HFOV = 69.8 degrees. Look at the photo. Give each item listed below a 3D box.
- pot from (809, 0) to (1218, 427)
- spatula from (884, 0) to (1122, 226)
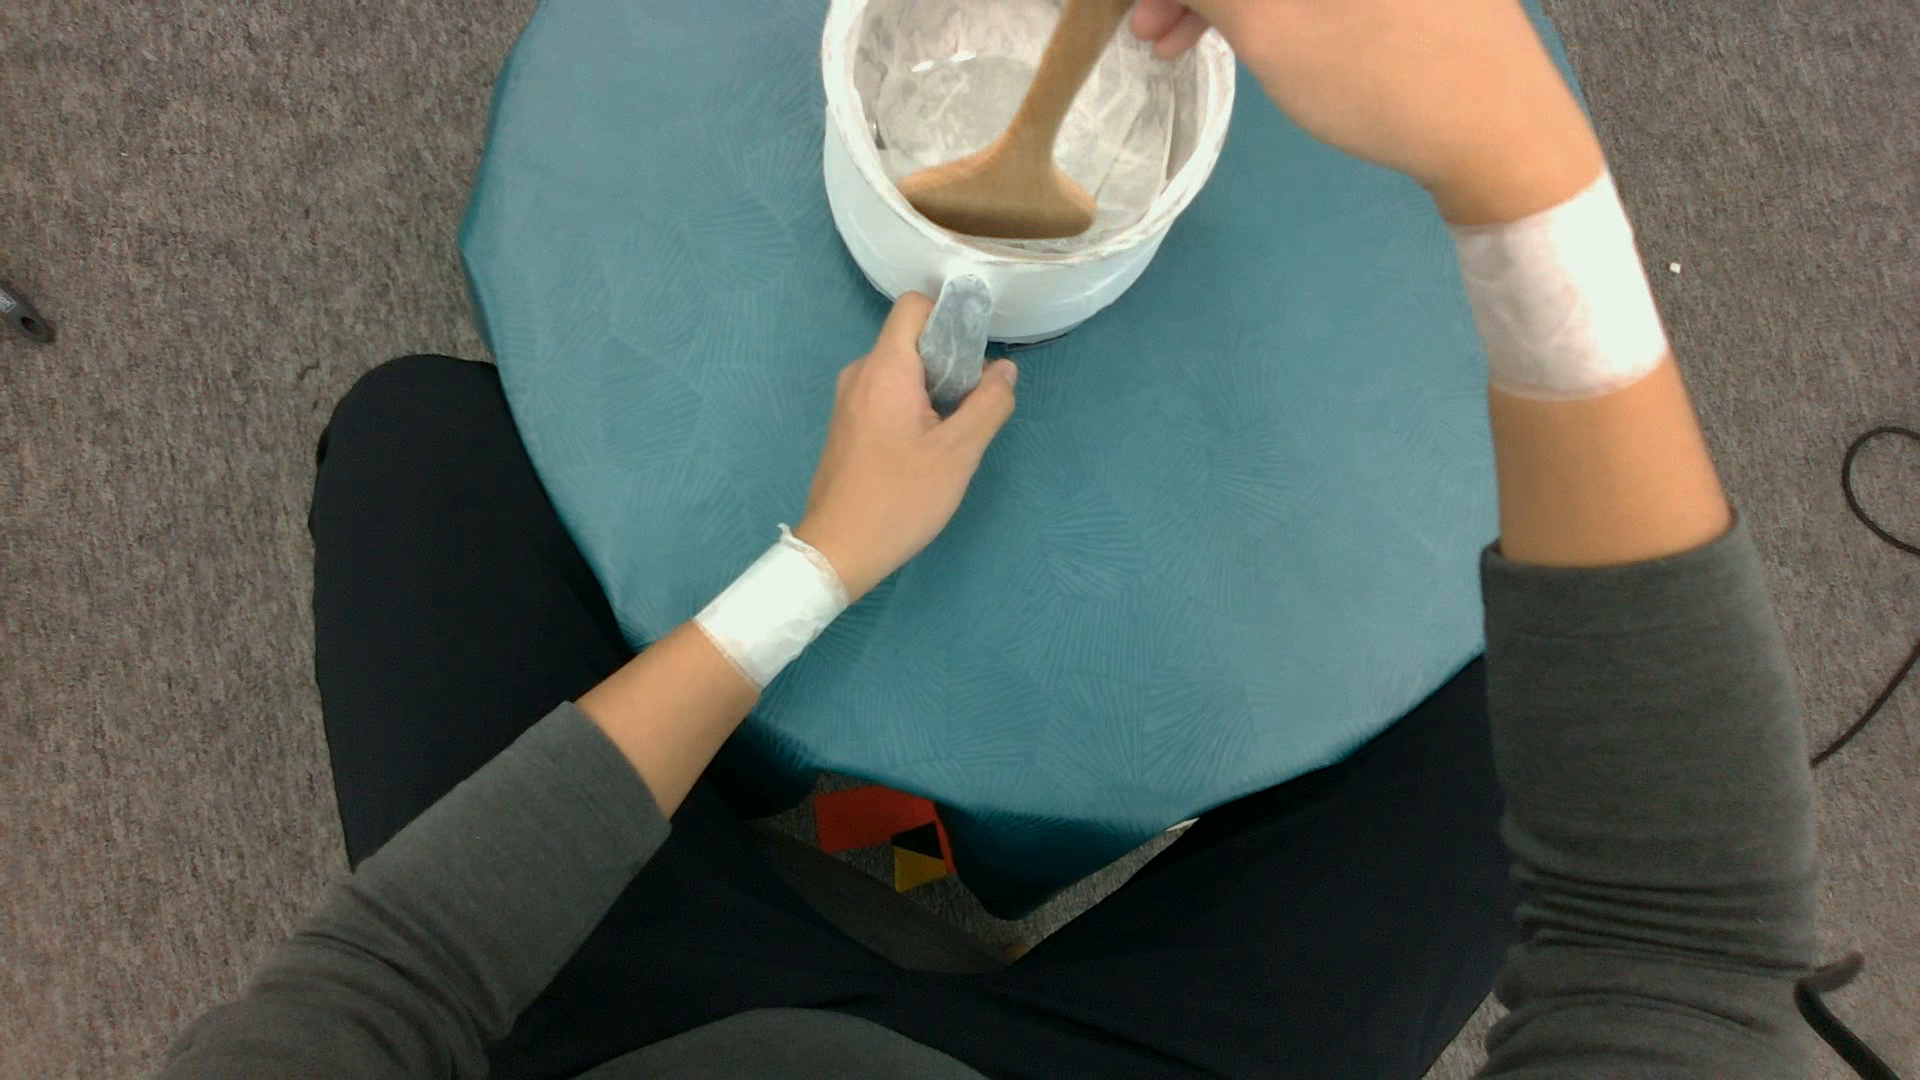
[{"bbox_3d":[0.011,-0.171,0.648,0.179,0.136,0.234,15,81,-5],"label":"pot"},{"bbox_3d":[0.039,-0.167,0.463,0.096,0.390,0.018,3,83,-10],"label":"spatula"}]
